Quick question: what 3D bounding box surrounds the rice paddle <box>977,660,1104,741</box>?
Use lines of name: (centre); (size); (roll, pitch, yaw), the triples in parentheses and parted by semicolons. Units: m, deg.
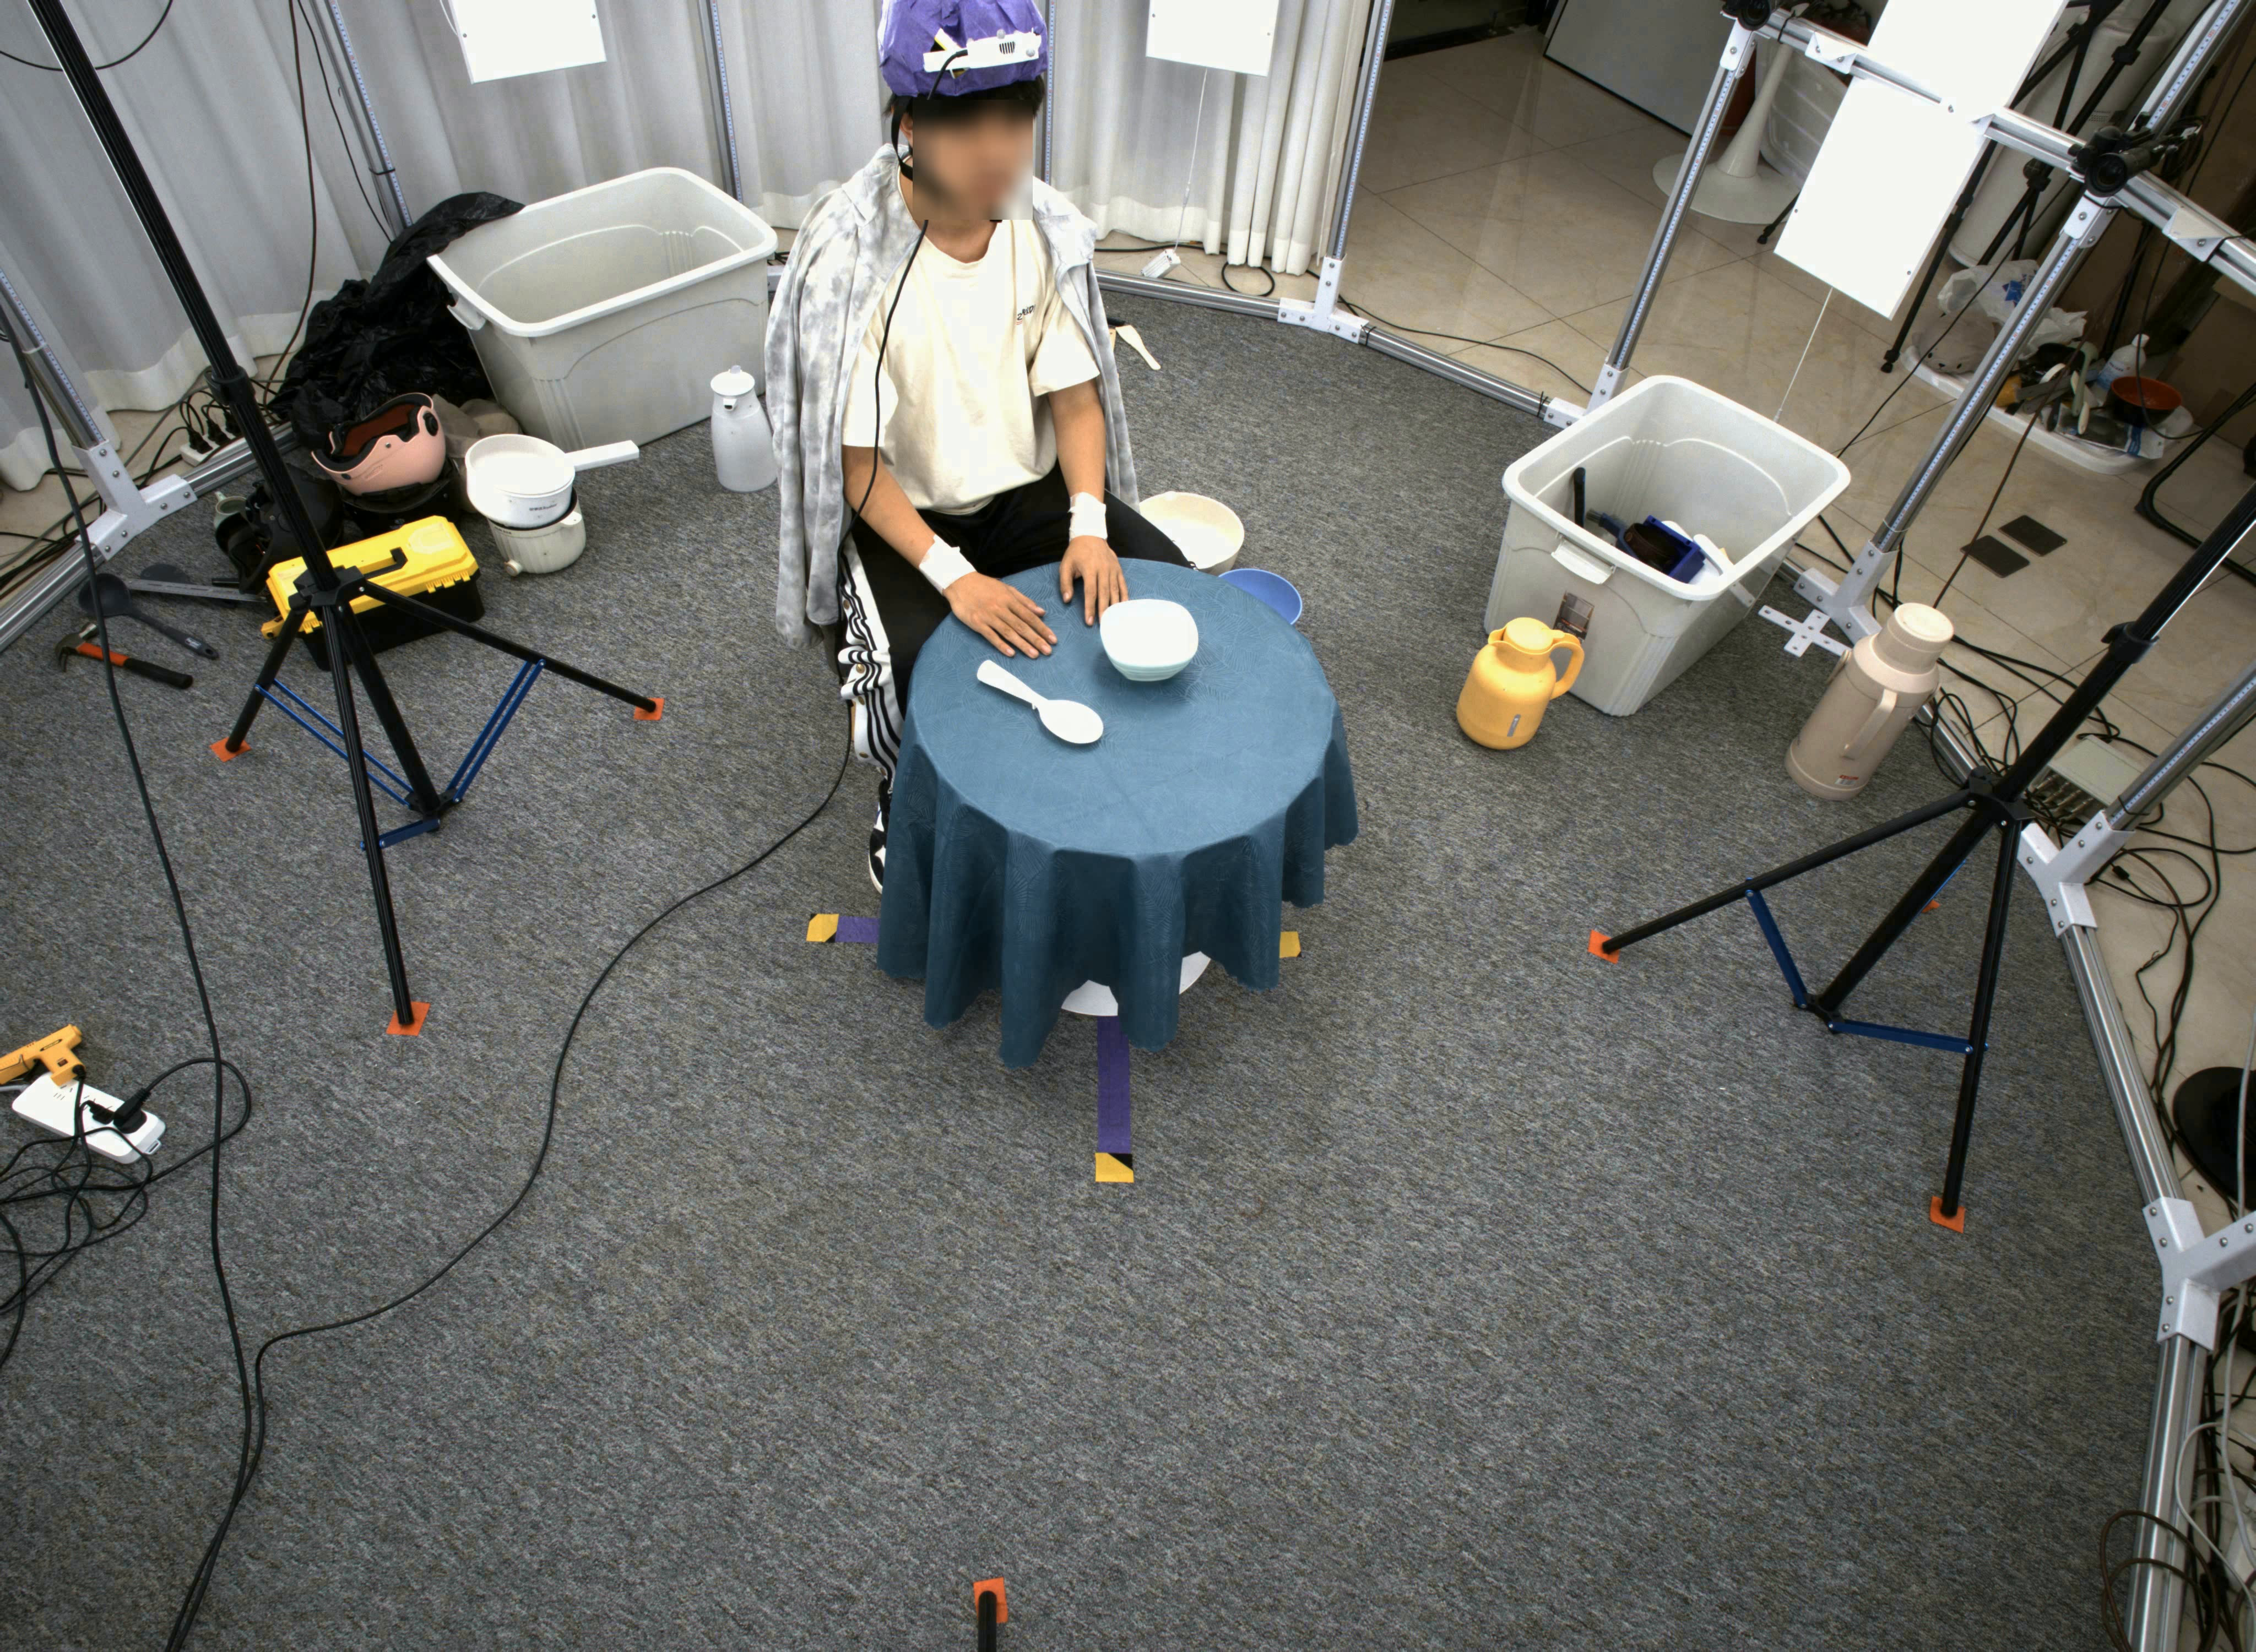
rice paddle: (-0.121, -0.175, 1.785); (0.207, 0.029, 0.069); (31, 55, 21)

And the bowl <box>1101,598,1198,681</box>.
bowl: (0.030, -0.260, 1.853); (0.151, 0.057, 0.155); (2, 51, -2)
